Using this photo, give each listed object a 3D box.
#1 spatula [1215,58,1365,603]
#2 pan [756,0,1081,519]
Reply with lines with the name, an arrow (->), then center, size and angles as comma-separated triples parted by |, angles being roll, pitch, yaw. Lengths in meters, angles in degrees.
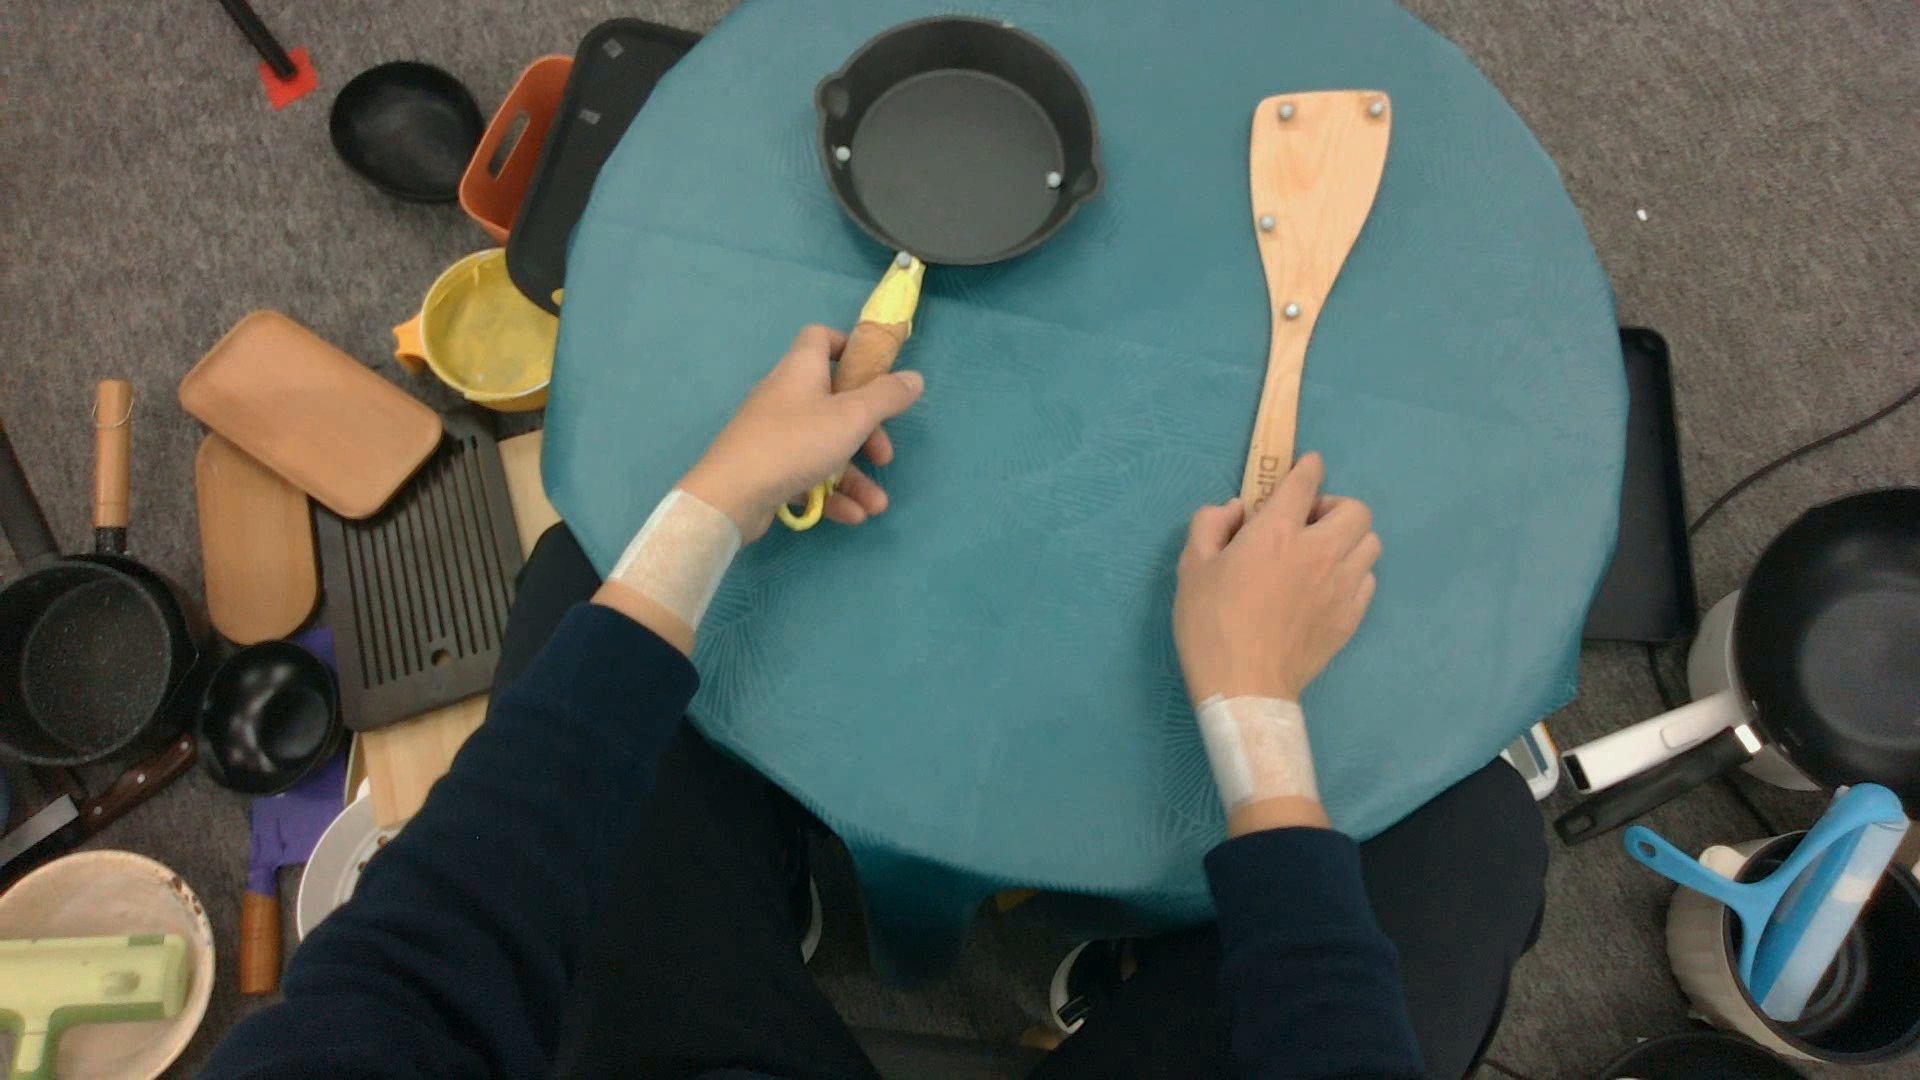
spatula -> 0.171, -0.124, 0.766 | 0.080, 0.016, 0.328 | 6, 74, 14
pan -> -0.043, -0.156, 0.750 | 0.169, 0.049, 0.325 | 20, 73, 3
